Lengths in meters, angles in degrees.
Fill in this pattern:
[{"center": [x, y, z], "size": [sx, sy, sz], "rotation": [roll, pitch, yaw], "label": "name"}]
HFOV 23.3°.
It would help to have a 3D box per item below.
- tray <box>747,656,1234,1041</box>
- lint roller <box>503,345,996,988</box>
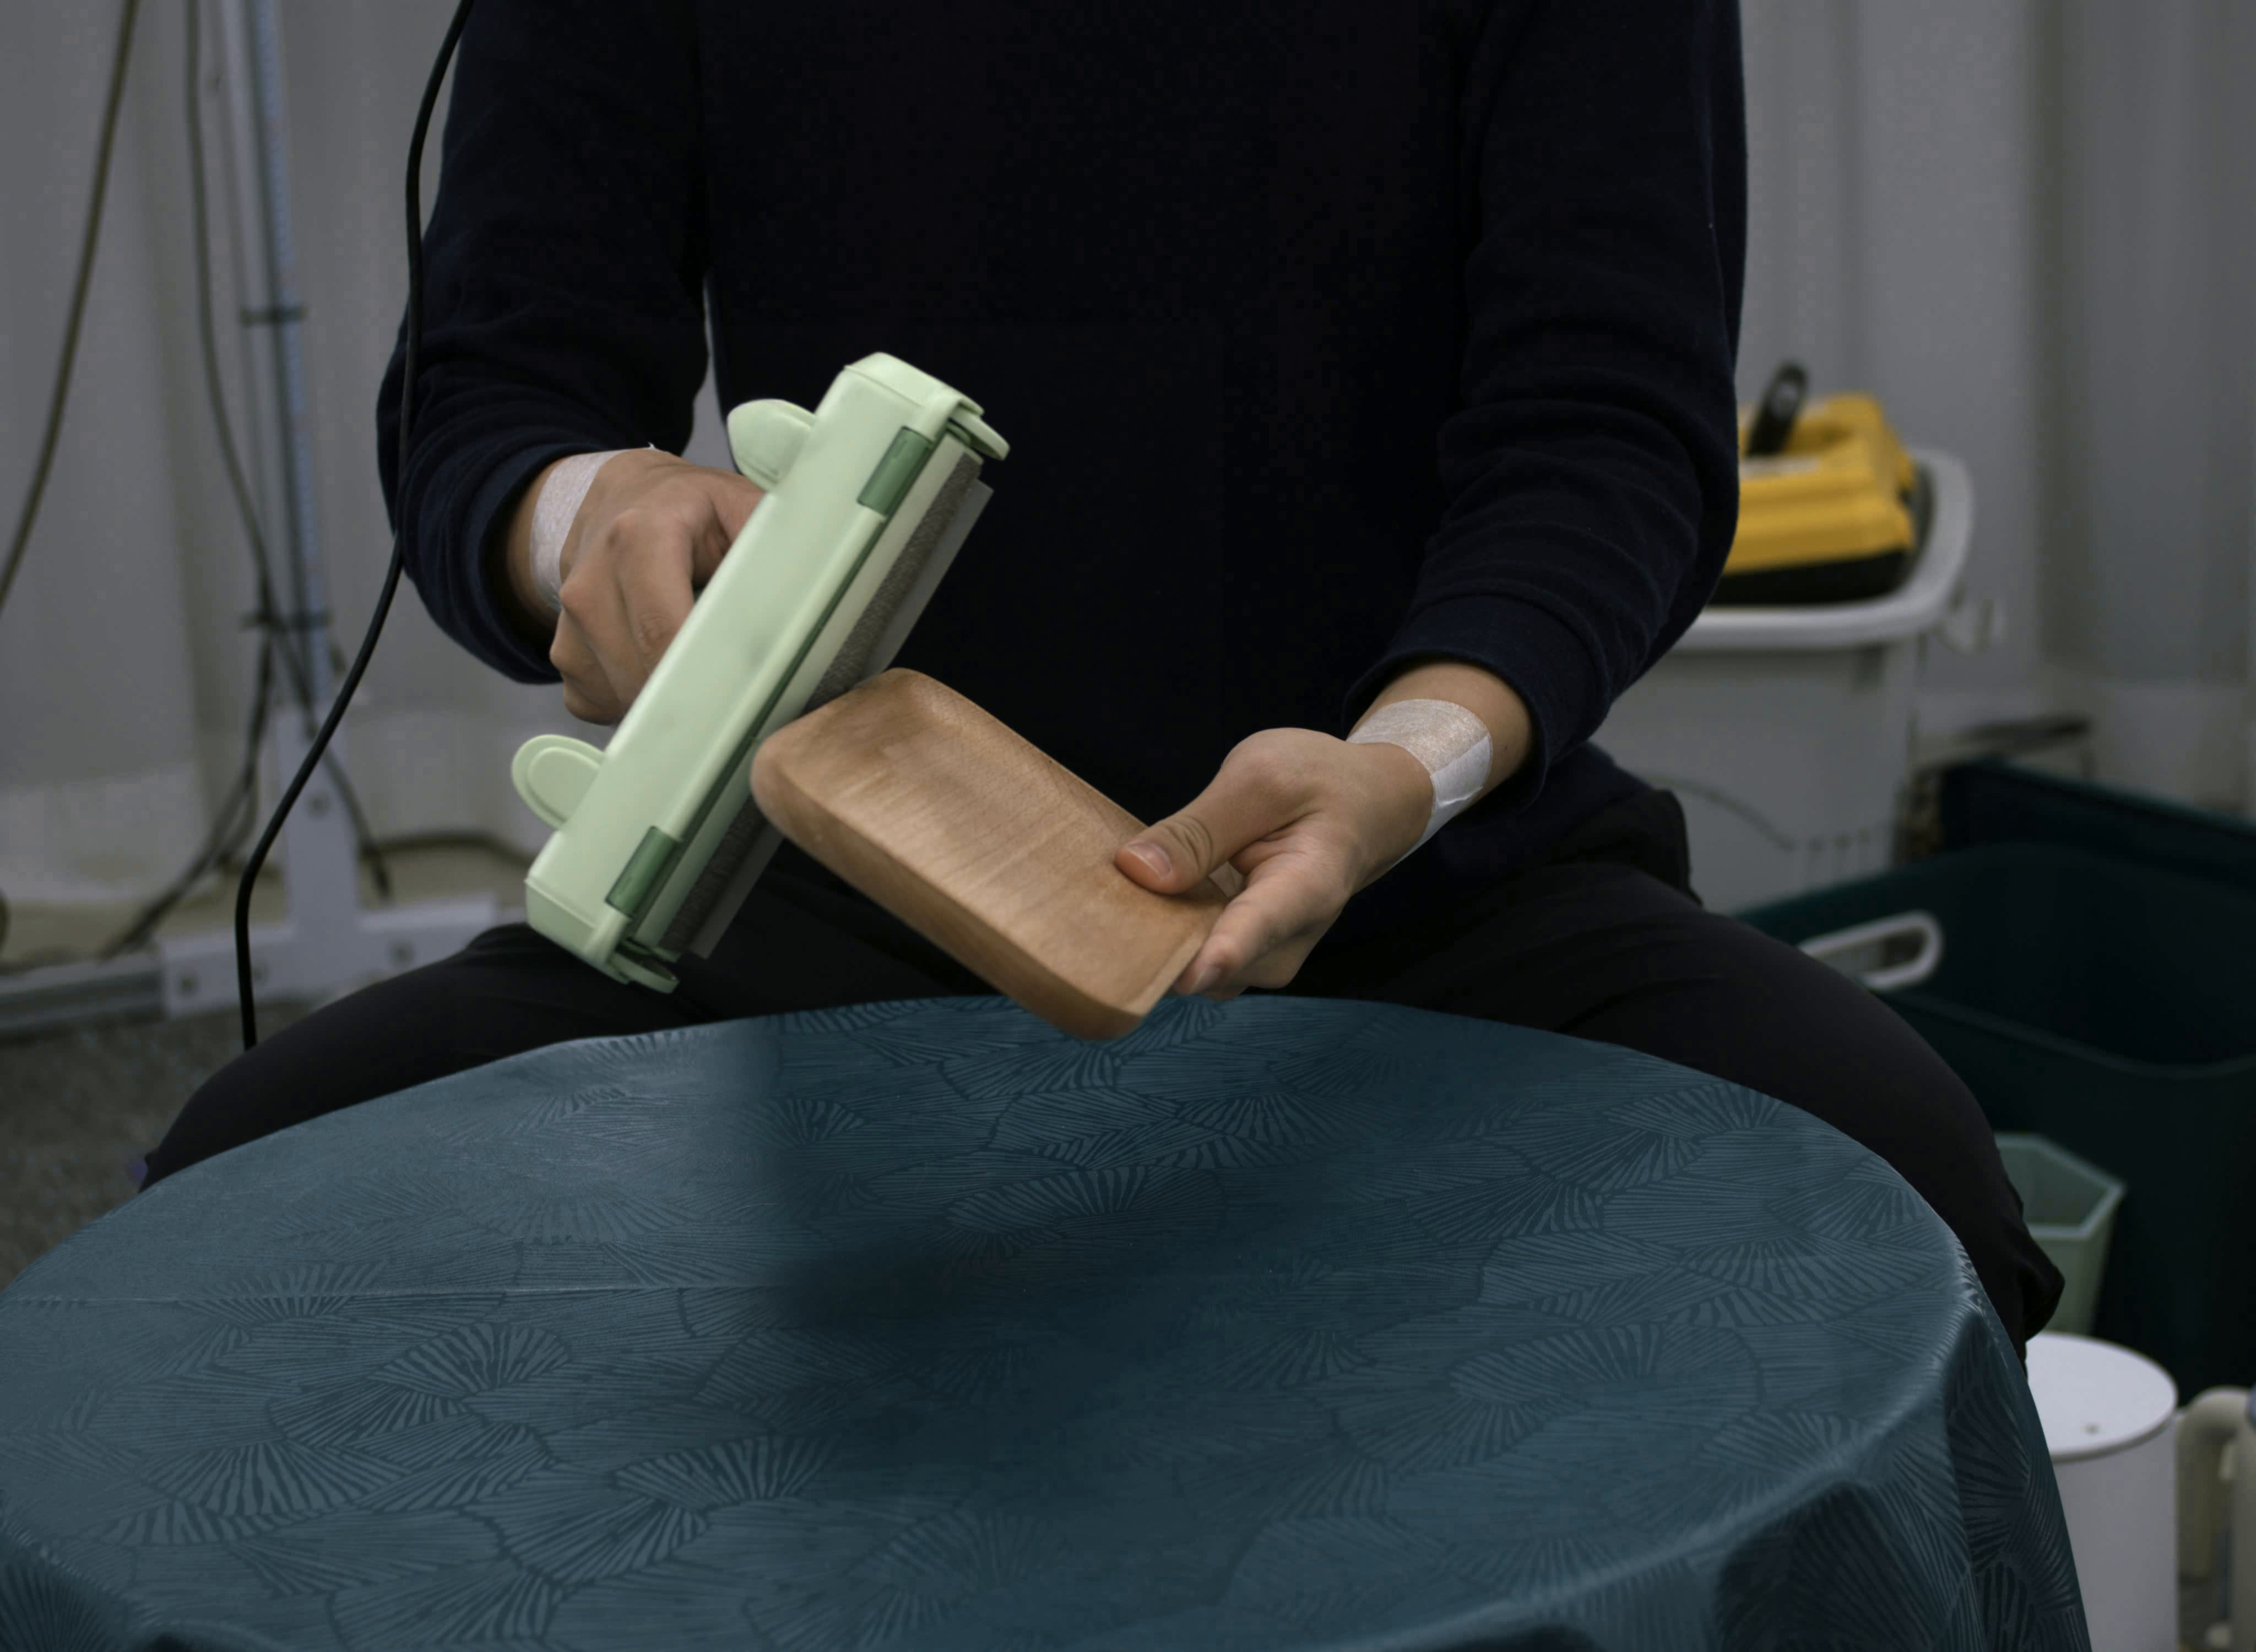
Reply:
[{"center": [-0.037, 0.004, 1.558], "size": [0.130, 0.023, 0.251], "rotation": [39, 10, 2], "label": "tray"}, {"center": [-0.135, -0.060, 1.639], "size": [0.081, 0.199, 0.184], "rotation": [34, -4, -26], "label": "lint roller"}]
